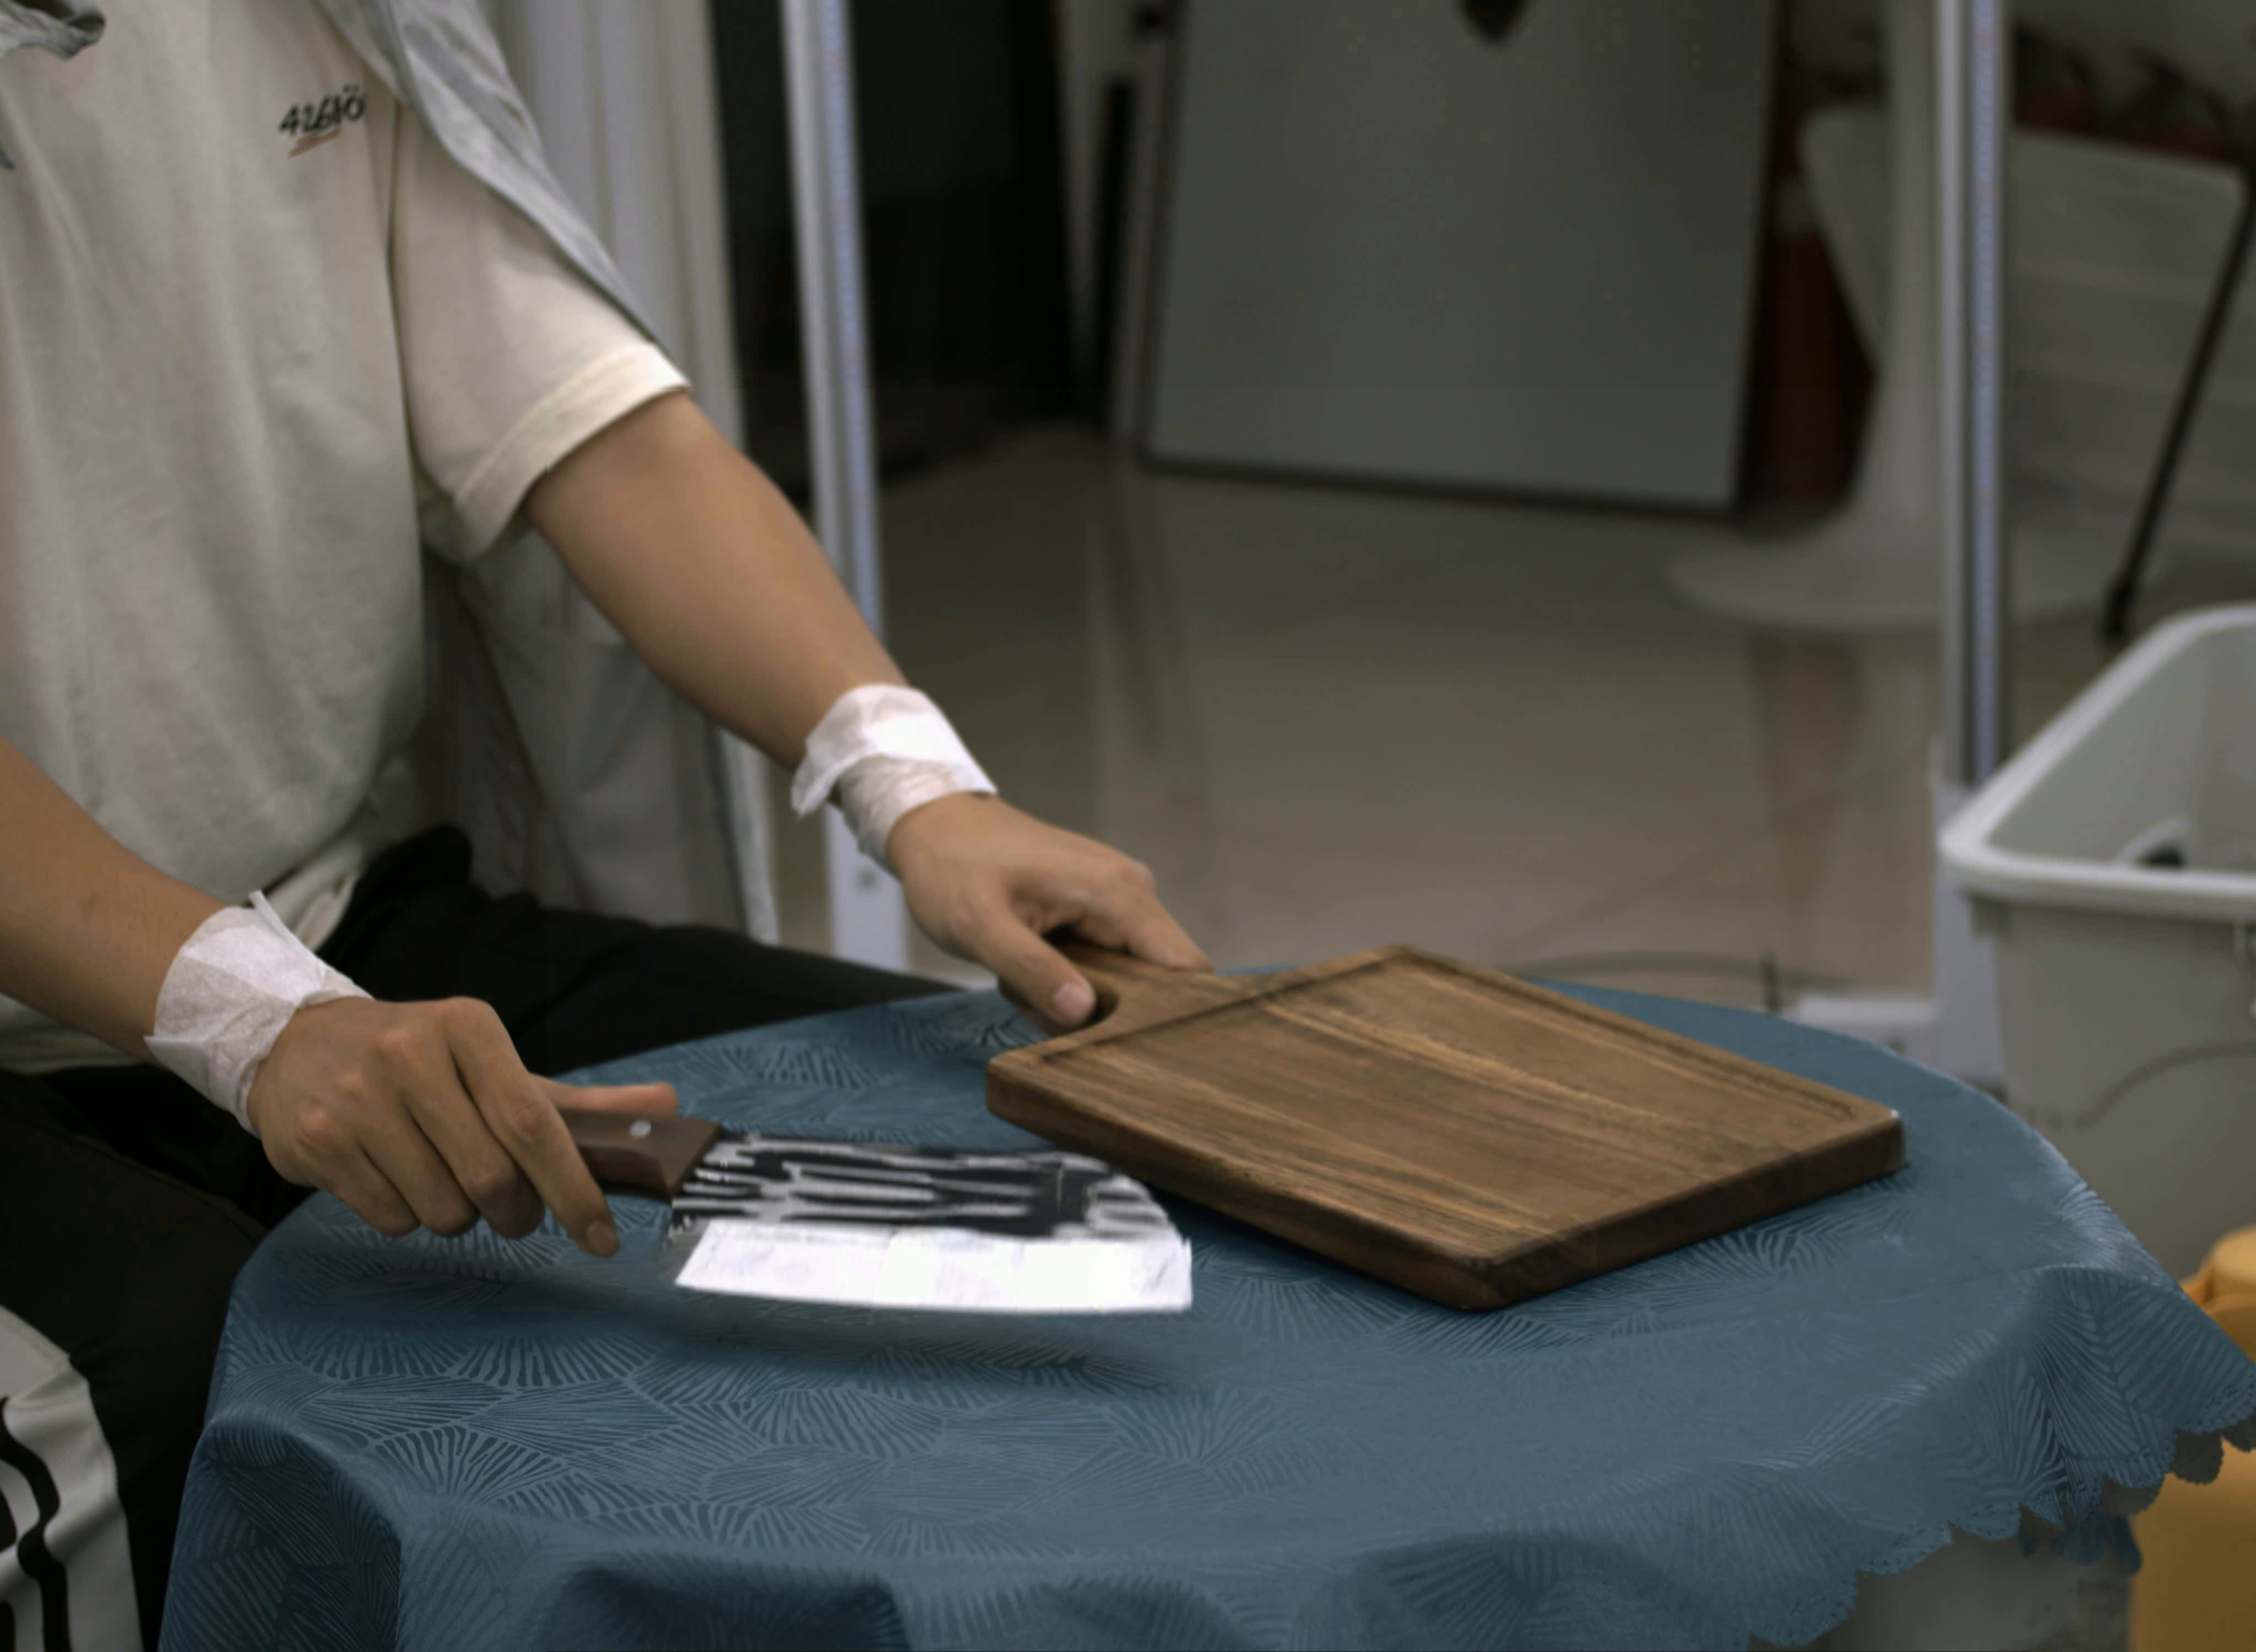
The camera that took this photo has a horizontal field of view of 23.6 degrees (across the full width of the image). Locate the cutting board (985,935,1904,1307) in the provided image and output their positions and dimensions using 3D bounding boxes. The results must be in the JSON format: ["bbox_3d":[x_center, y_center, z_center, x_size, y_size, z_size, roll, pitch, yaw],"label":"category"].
[{"bbox_3d":[0.071,0.085,1.814,0.197,0.023,0.356,-14,20,-37],"label":"cutting board"}]

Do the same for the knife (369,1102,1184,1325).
[{"bbox_3d":[-0.113,0.120,1.657,0.300,0.024,0.068,4,43,25],"label":"knife"}]
